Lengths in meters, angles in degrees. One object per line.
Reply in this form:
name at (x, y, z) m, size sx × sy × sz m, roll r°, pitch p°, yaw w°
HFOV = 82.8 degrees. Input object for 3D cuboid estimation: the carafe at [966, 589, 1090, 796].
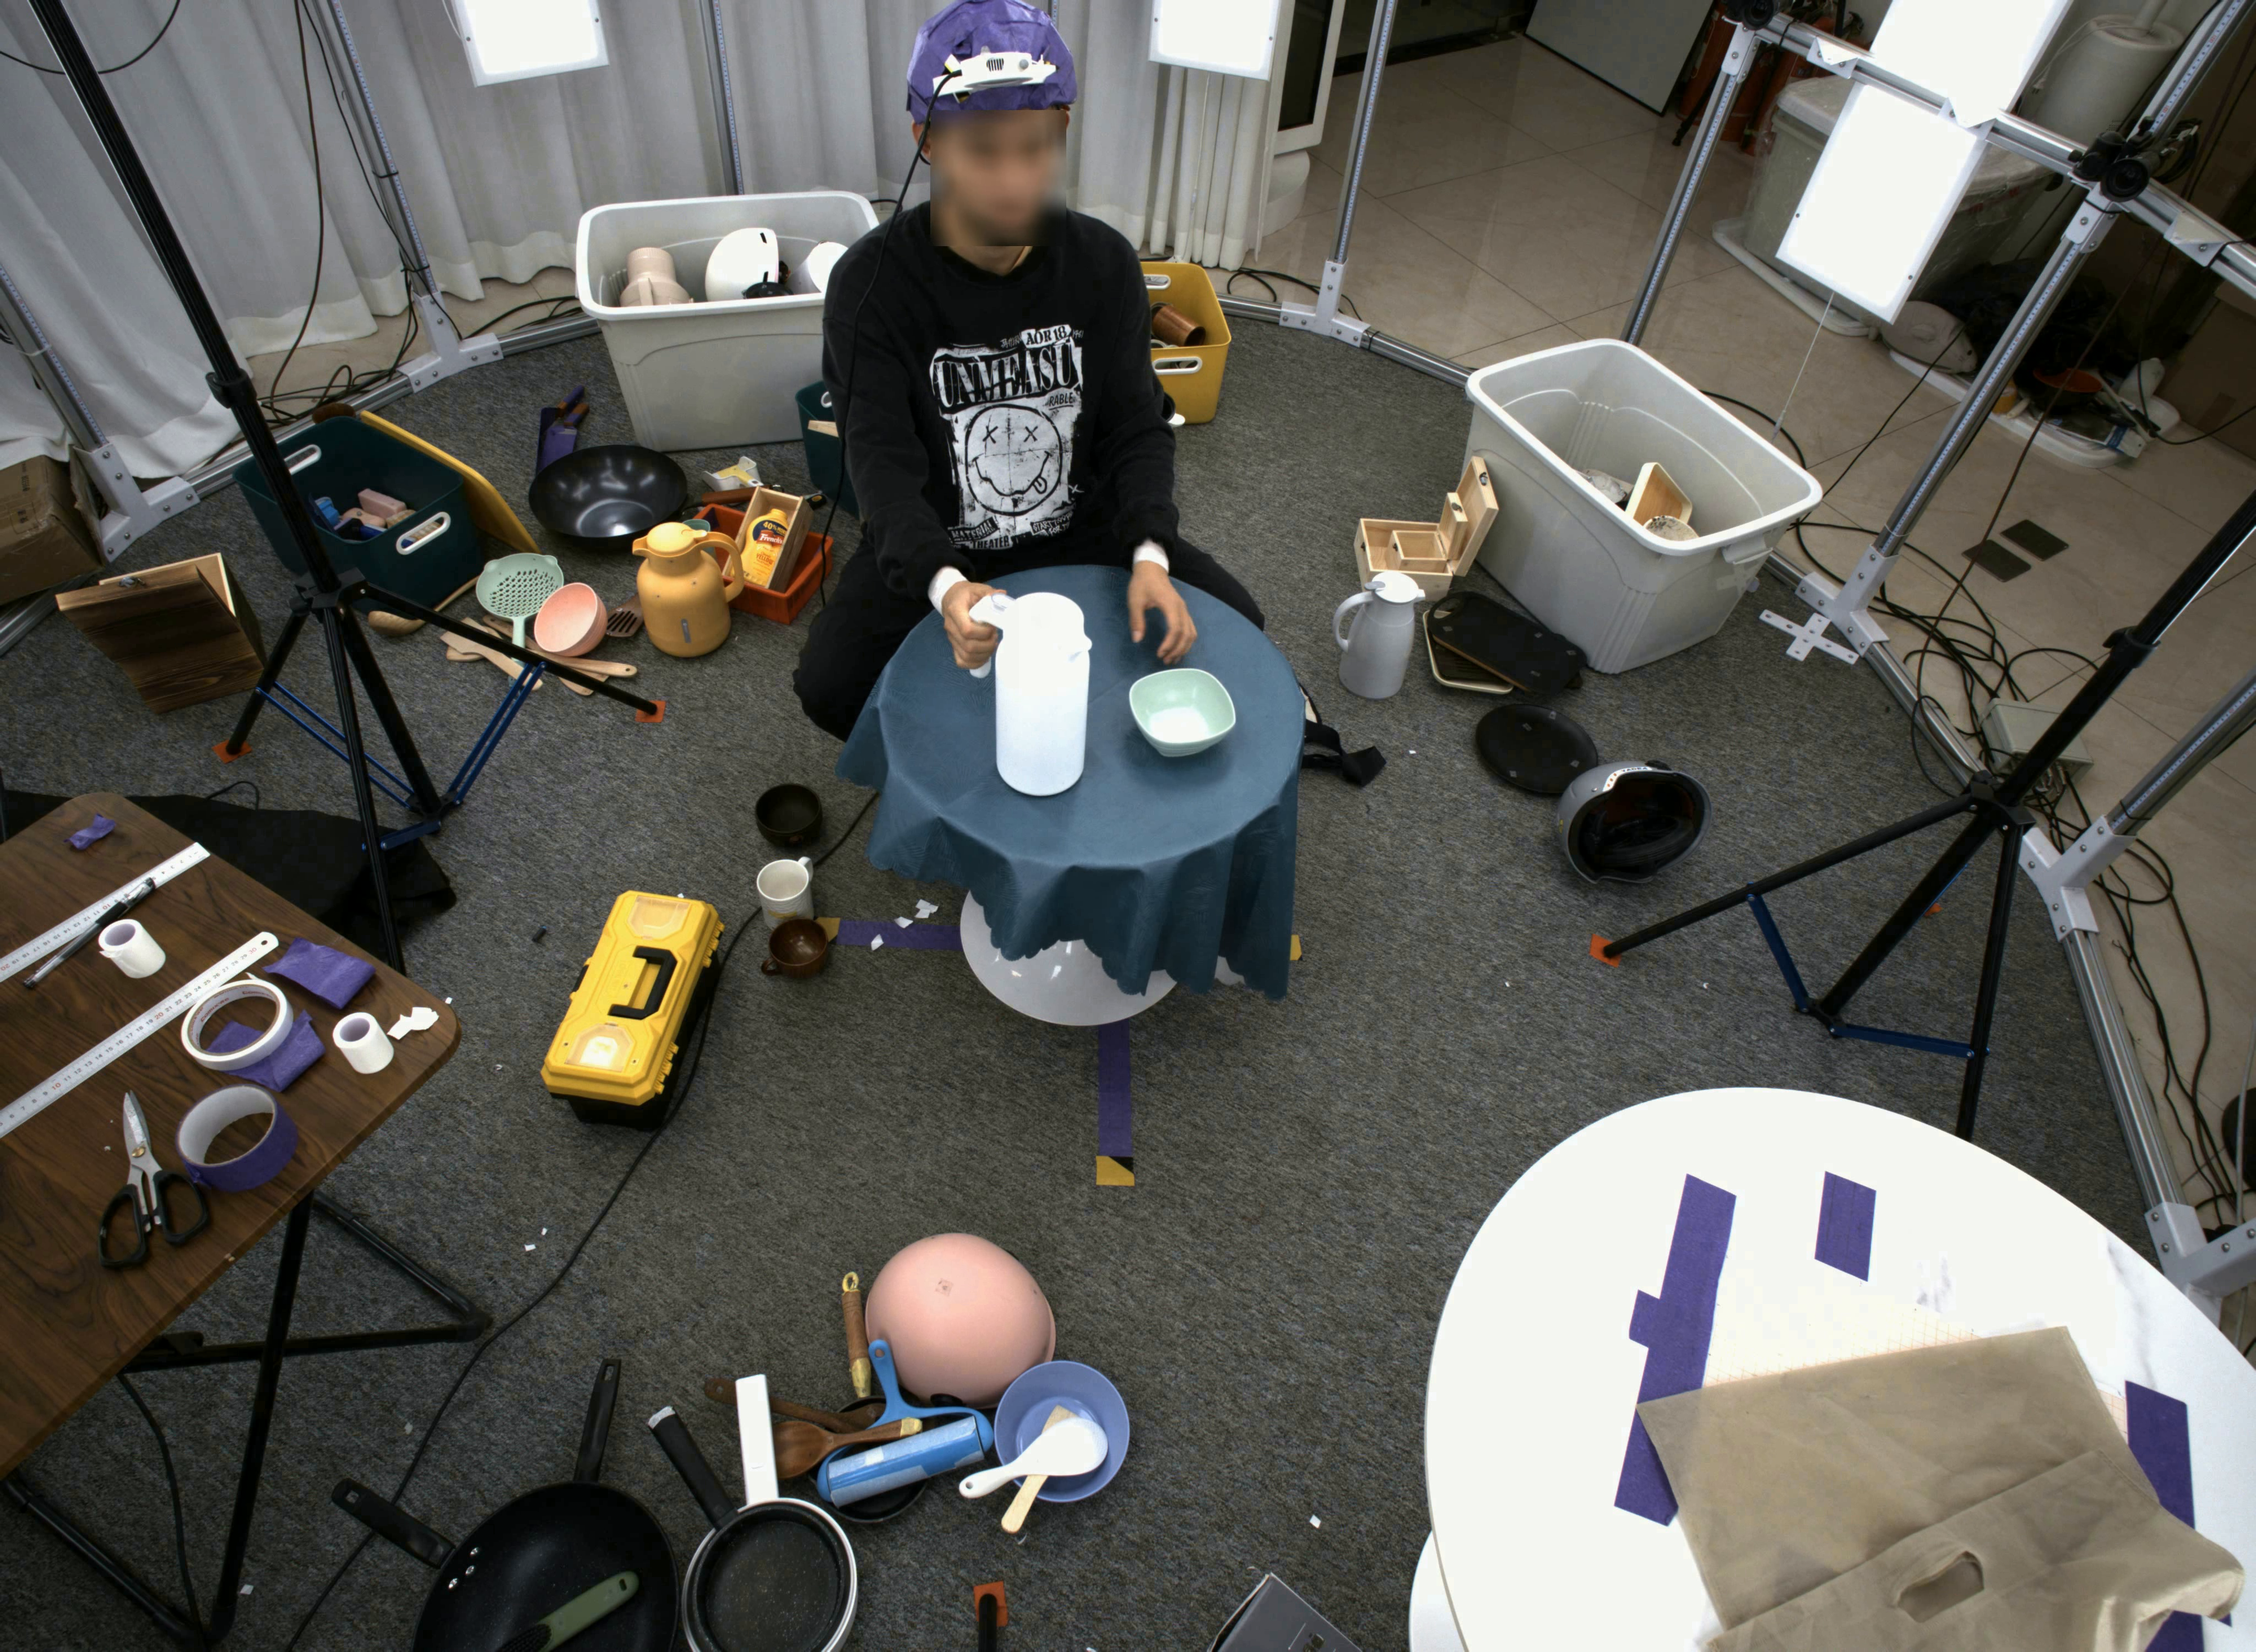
carafe at (-0.127, -0.171, 1.638) m, size 0.174 × 0.262 × 0.126 m, roll 27°, pitch 55°, yaw 18°

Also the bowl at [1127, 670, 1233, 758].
bowl at (0.069, -0.146, 1.766) m, size 0.151 × 0.057 × 0.155 m, roll 2°, pitch 49°, yaw -2°
